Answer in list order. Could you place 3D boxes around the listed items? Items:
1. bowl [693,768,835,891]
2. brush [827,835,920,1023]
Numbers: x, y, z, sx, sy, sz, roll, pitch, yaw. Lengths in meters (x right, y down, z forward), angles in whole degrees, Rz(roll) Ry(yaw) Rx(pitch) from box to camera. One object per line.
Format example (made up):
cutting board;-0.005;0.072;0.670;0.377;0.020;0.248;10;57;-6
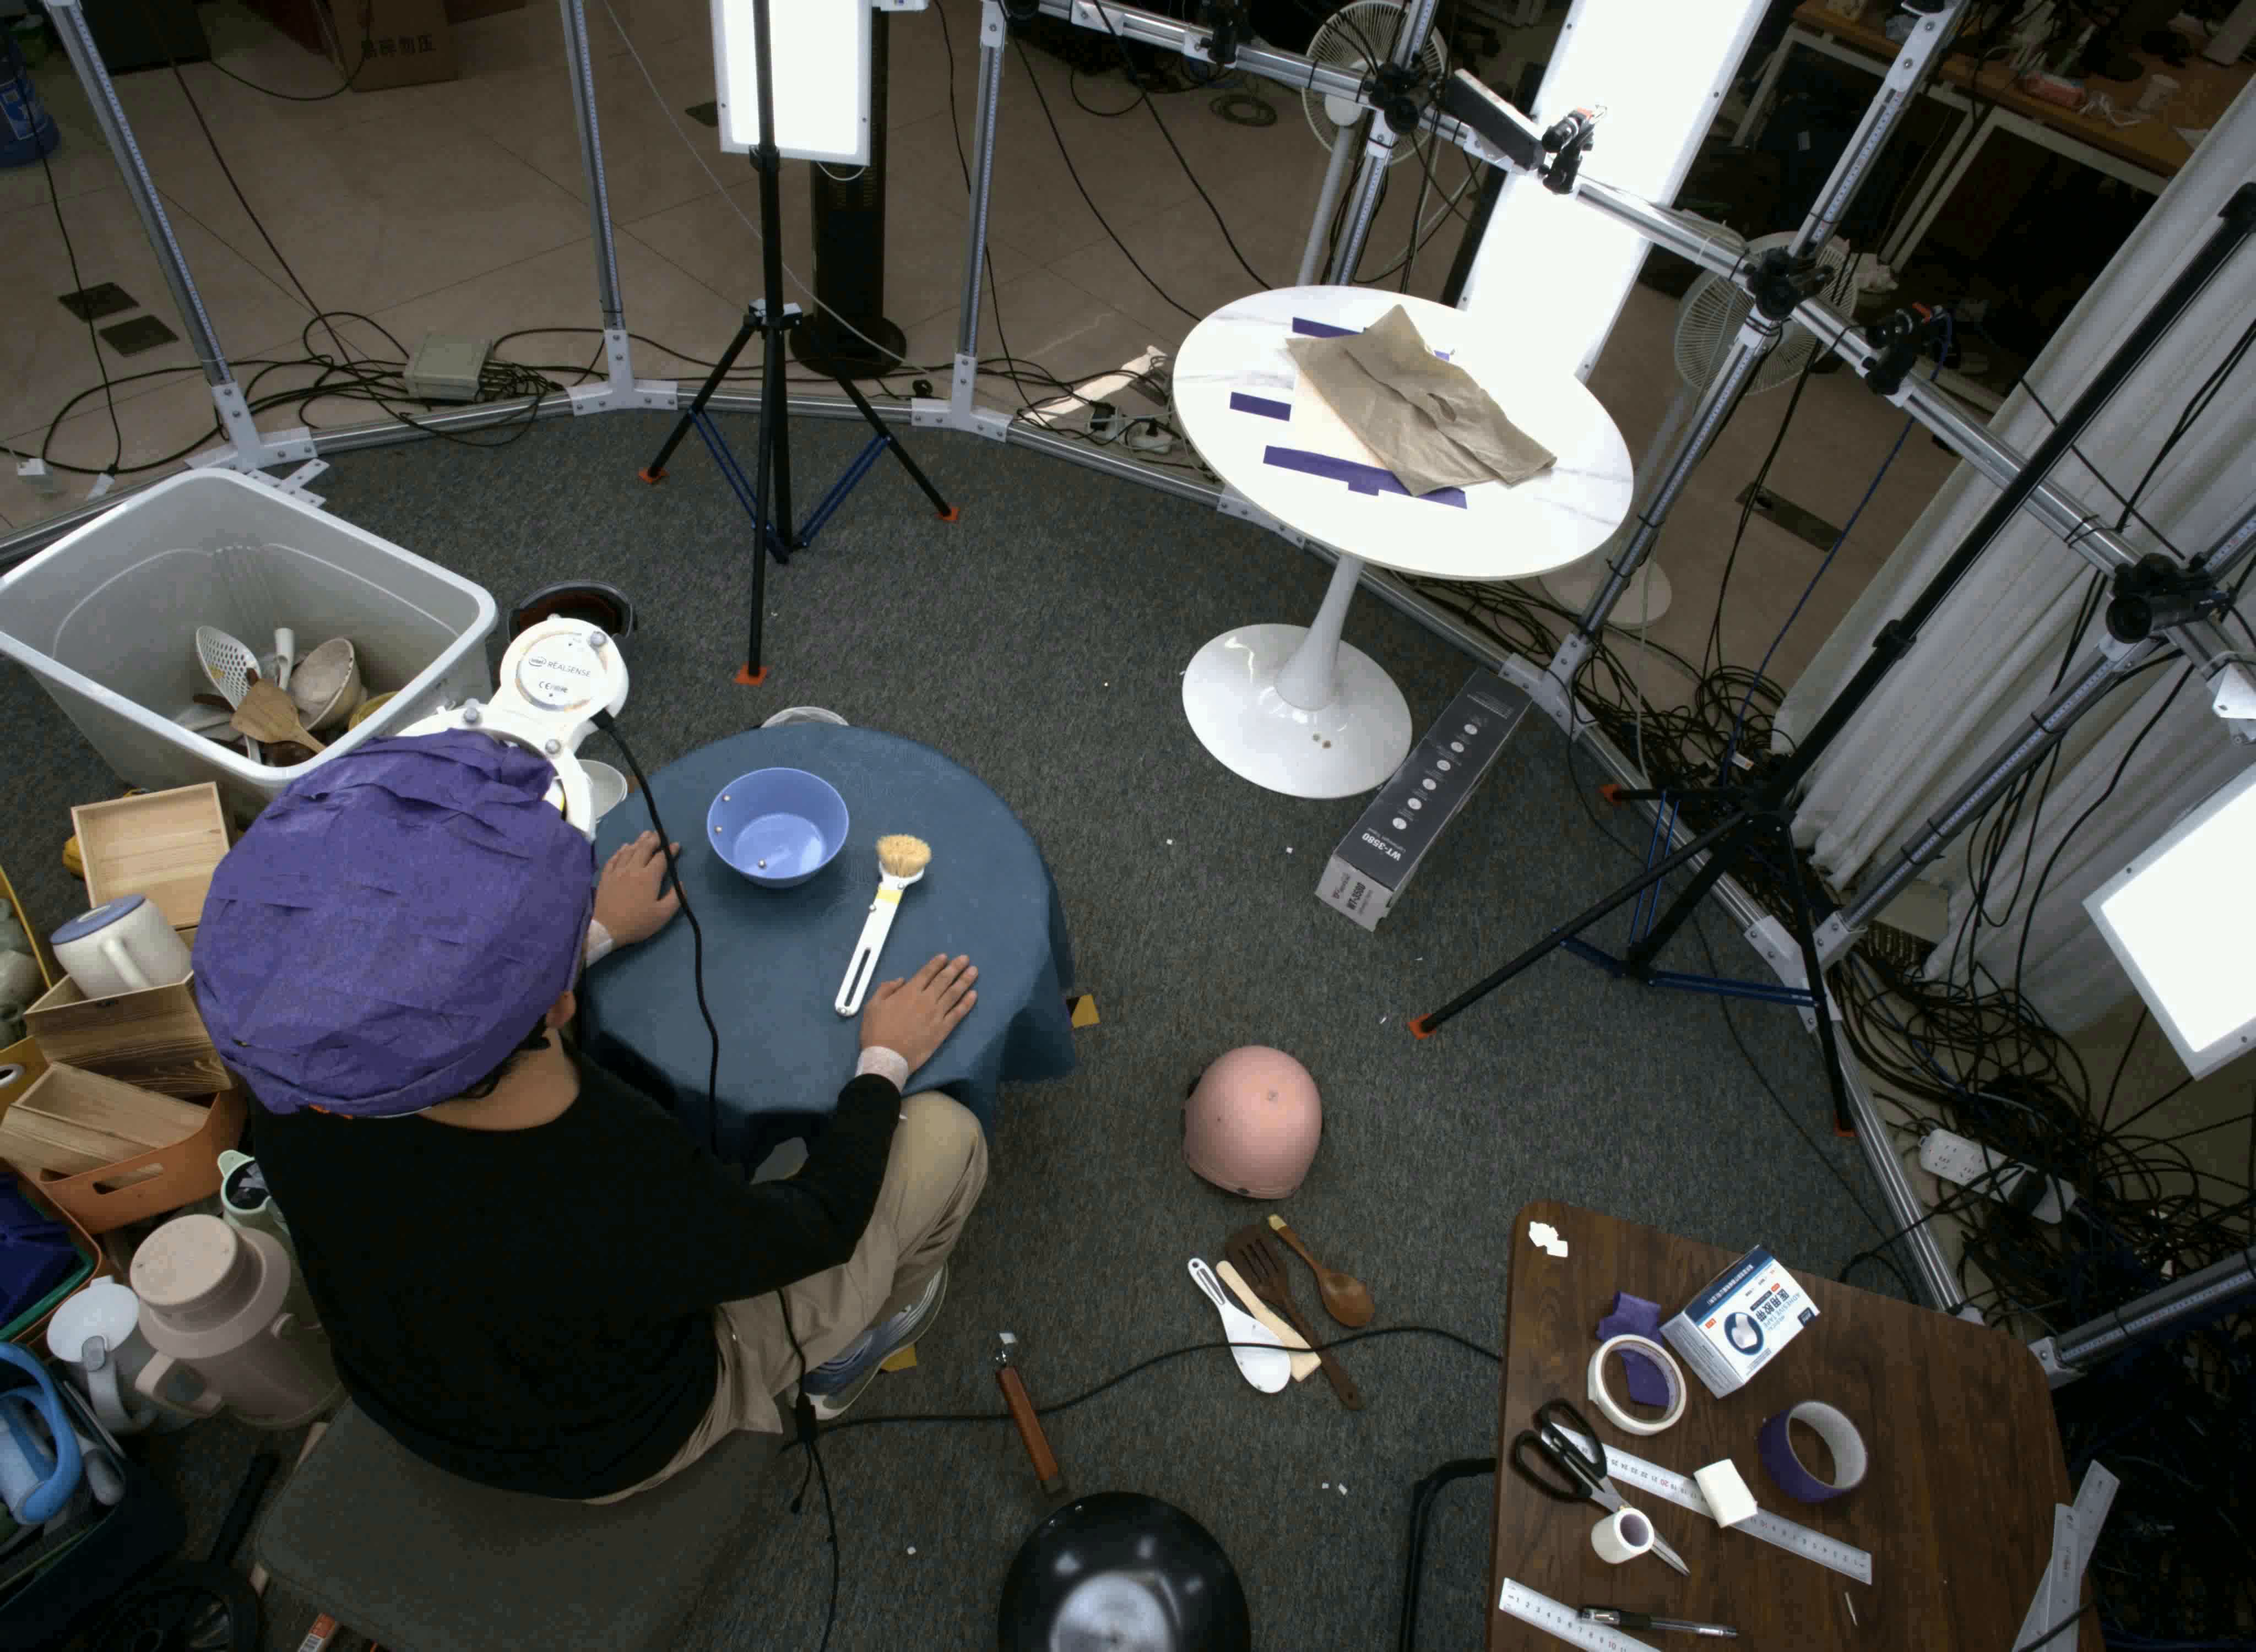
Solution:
bowl;-0.461;0.014;1.651;0.175;0.072;0.173;7;53;-8
brush;-0.323;0.118;1.623;0.068;0.057;0.263;13;52;3
